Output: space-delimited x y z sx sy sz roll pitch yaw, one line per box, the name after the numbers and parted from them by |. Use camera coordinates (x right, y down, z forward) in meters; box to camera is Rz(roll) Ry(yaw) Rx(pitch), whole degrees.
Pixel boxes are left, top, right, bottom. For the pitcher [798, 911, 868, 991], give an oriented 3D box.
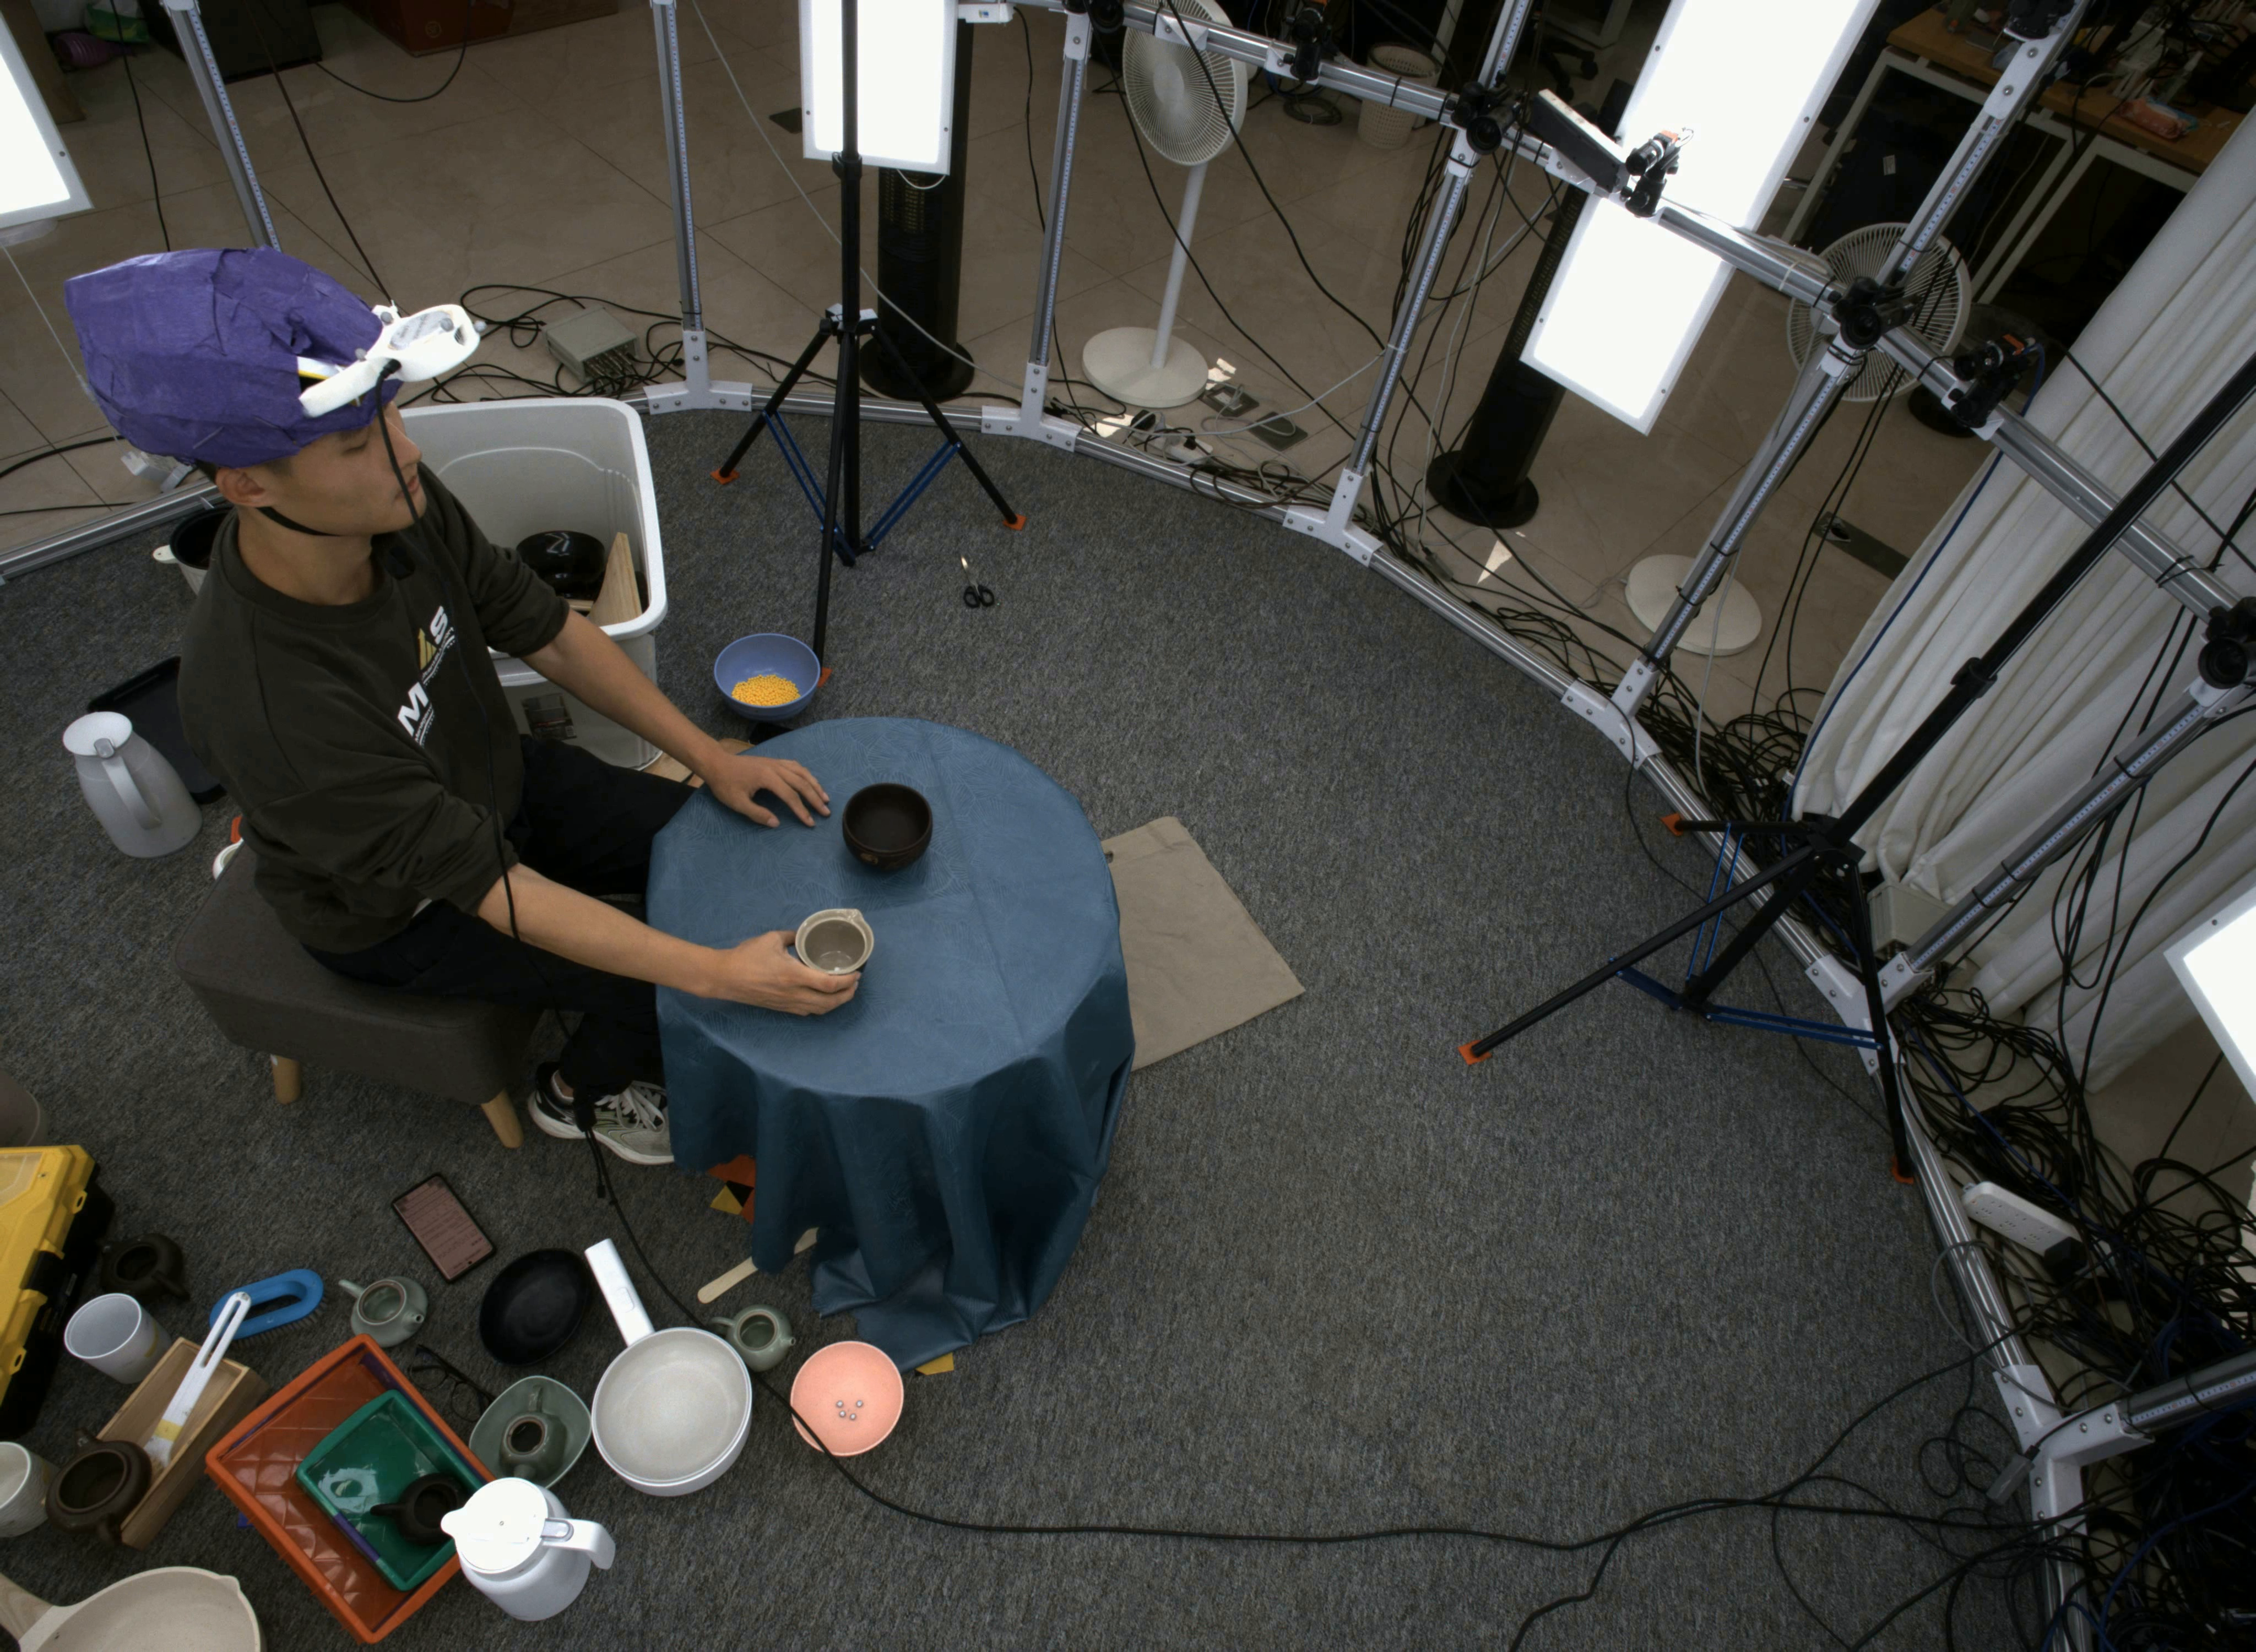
-0.357 0.155 1.586 0.082 0.073 0.095 27 52 10 | pitcher

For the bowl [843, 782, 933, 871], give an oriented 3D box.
-0.316 0.008 1.709 0.118 0.071 0.116 8 53 -9 | bowl
